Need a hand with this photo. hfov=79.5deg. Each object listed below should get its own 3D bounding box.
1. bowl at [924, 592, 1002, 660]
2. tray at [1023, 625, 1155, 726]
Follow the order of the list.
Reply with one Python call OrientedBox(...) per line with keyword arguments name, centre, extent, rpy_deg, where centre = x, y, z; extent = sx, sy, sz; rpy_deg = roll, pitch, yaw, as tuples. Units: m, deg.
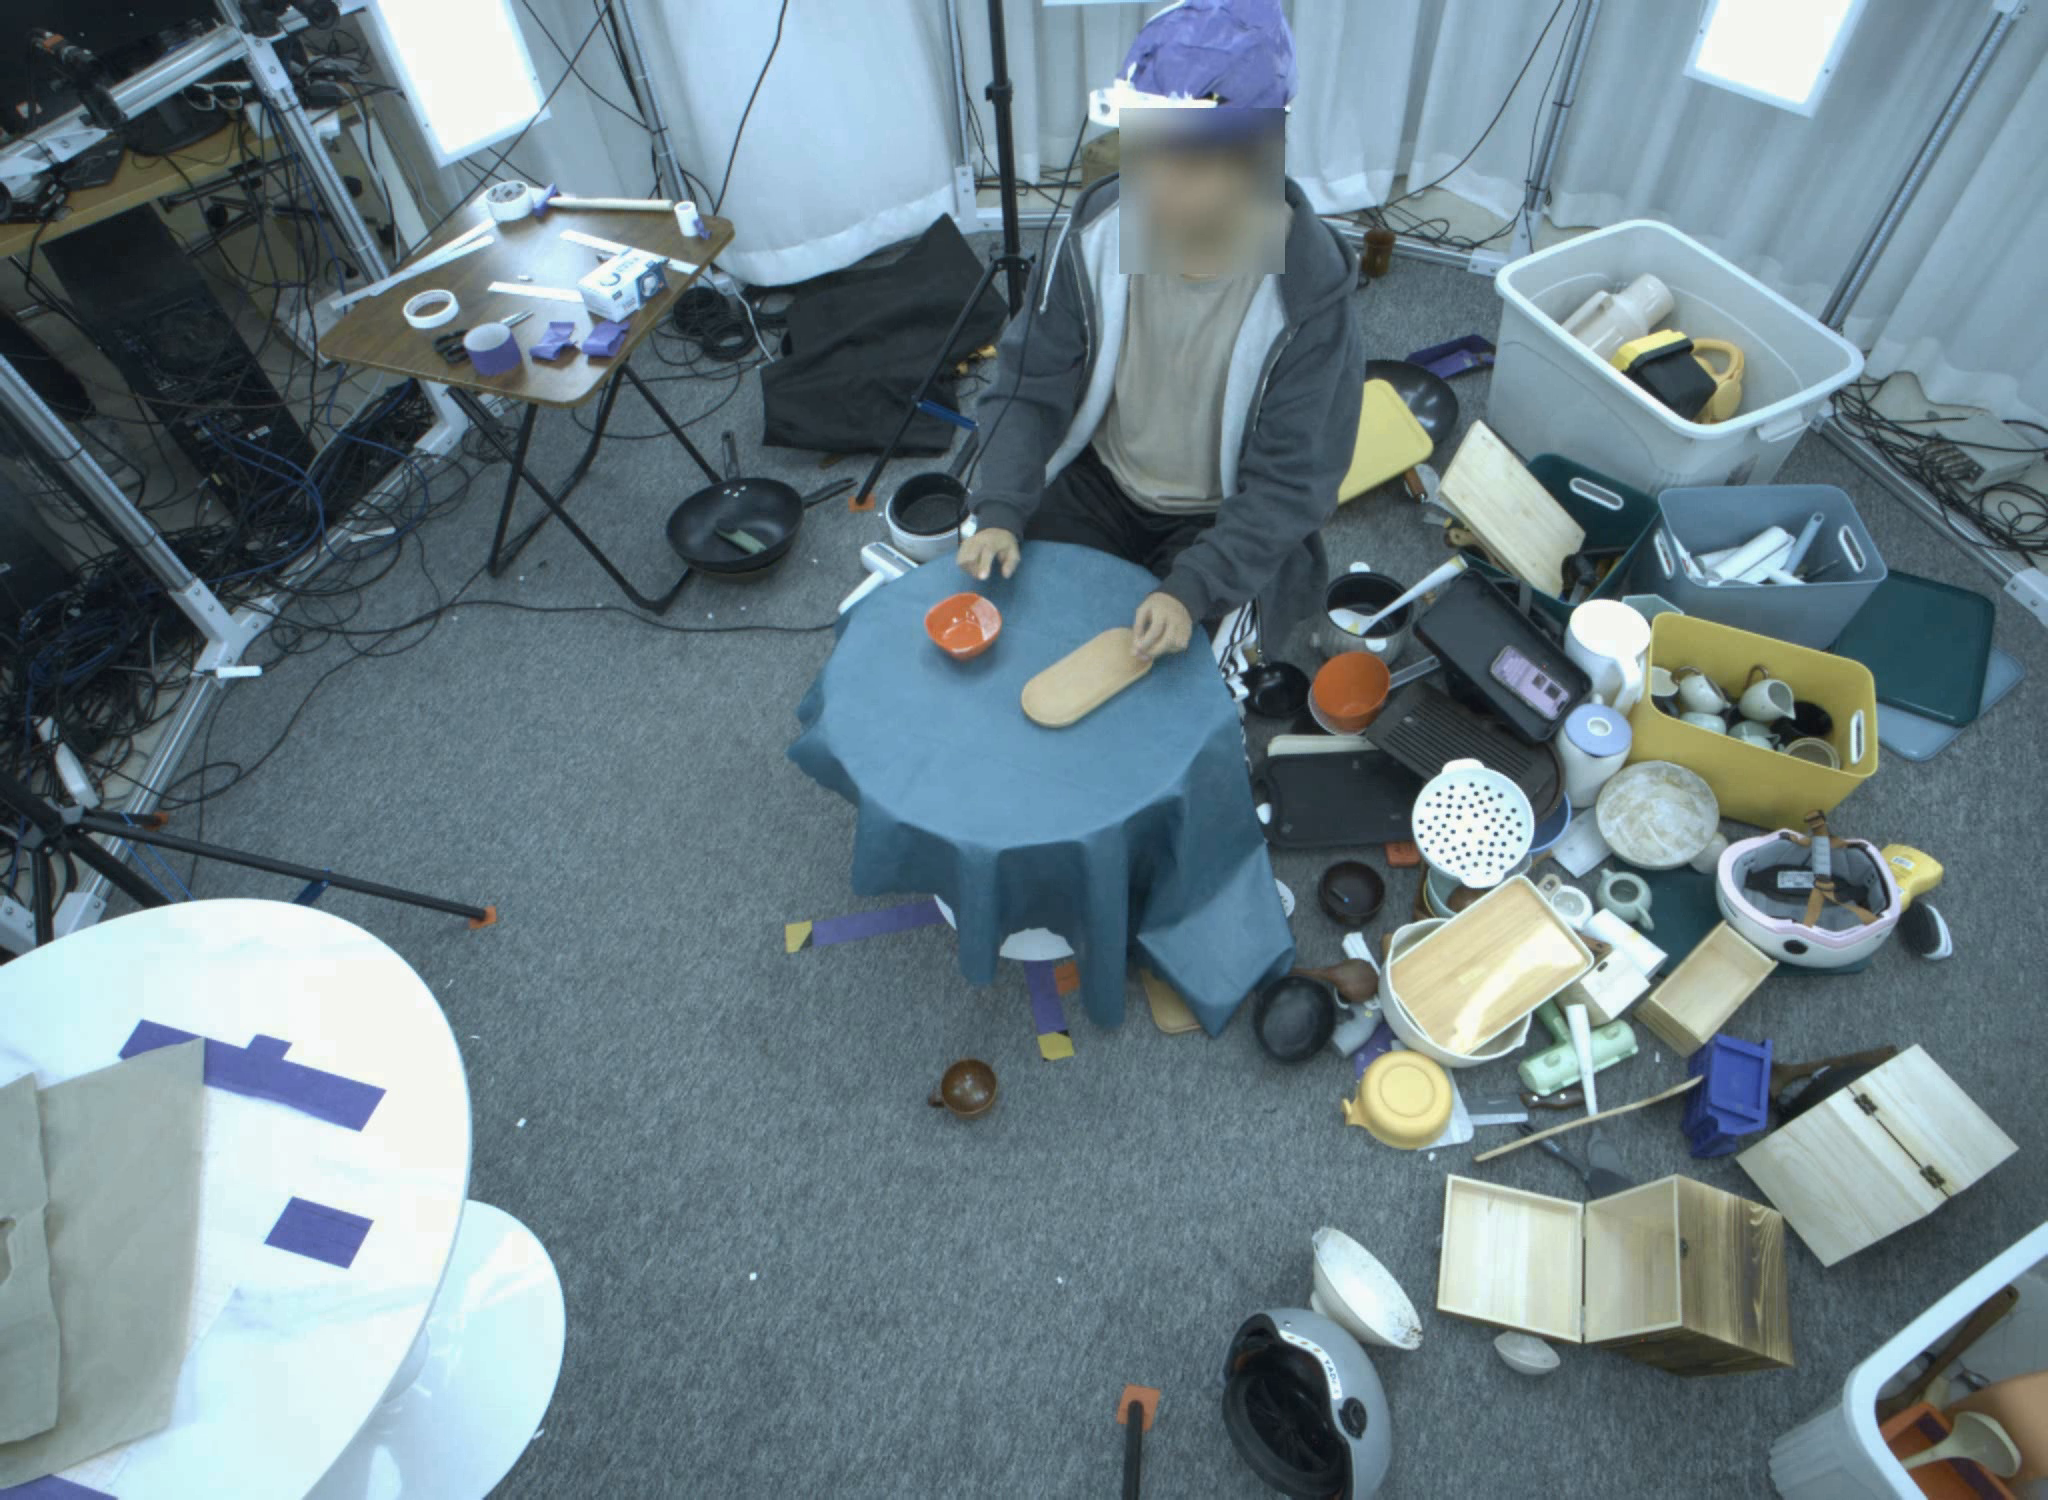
OrientedBox(name="bowl", centre=(-0.092, -0.183, 1.890), extent=(0.119, 0.052, 0.117), rpy_deg=(-1, 54, 3))
OrientedBox(name="tray", centre=(0.099, -0.113, 1.857), extent=(0.233, 0.020, 0.100), rpy_deg=(-35, 62, -22))
